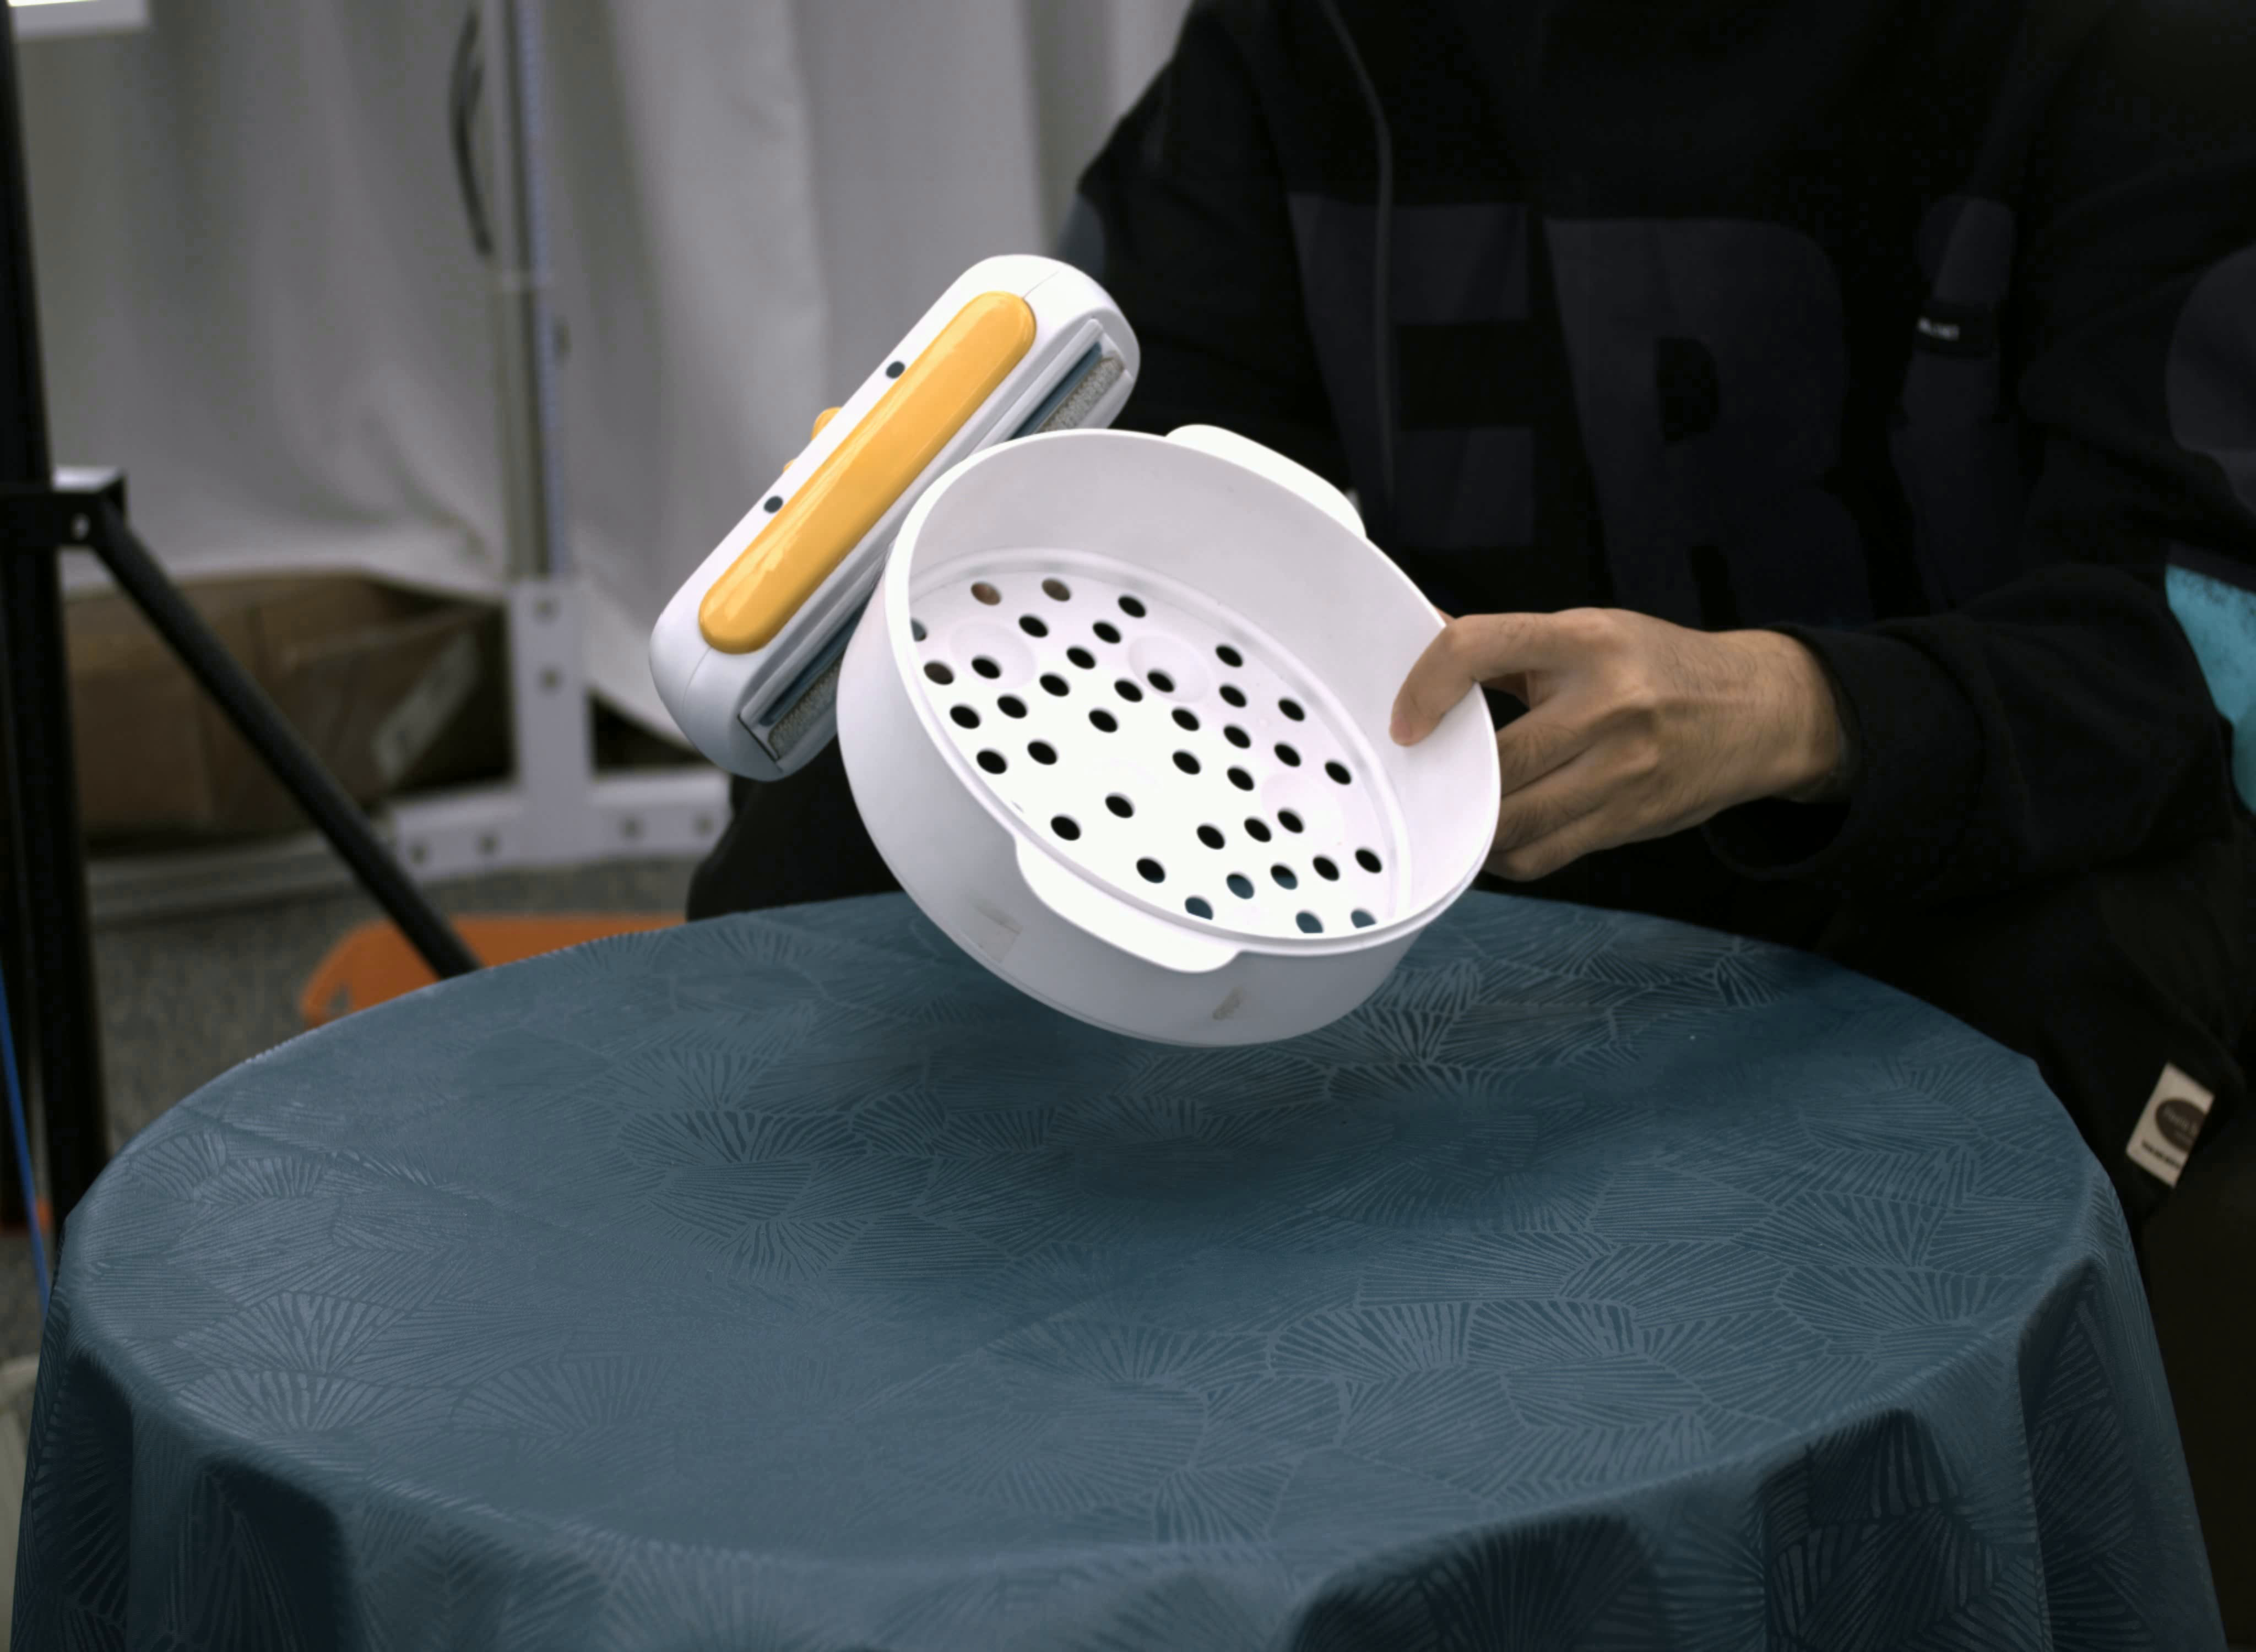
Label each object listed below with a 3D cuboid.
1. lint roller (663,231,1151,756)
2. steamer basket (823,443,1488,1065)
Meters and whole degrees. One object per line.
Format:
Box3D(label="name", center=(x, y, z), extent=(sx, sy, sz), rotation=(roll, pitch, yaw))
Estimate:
Box3D(label="lint roller", center=(-0.068, -0.086, 1.735), extent=(0.075, 0.192, 0.190), rotation=(34, -14, 20))
Box3D(label="steamer basket", center=(0.007, -0.020, 1.597), extent=(0.200, 0.070, 0.231), rotation=(28, 41, -7))
